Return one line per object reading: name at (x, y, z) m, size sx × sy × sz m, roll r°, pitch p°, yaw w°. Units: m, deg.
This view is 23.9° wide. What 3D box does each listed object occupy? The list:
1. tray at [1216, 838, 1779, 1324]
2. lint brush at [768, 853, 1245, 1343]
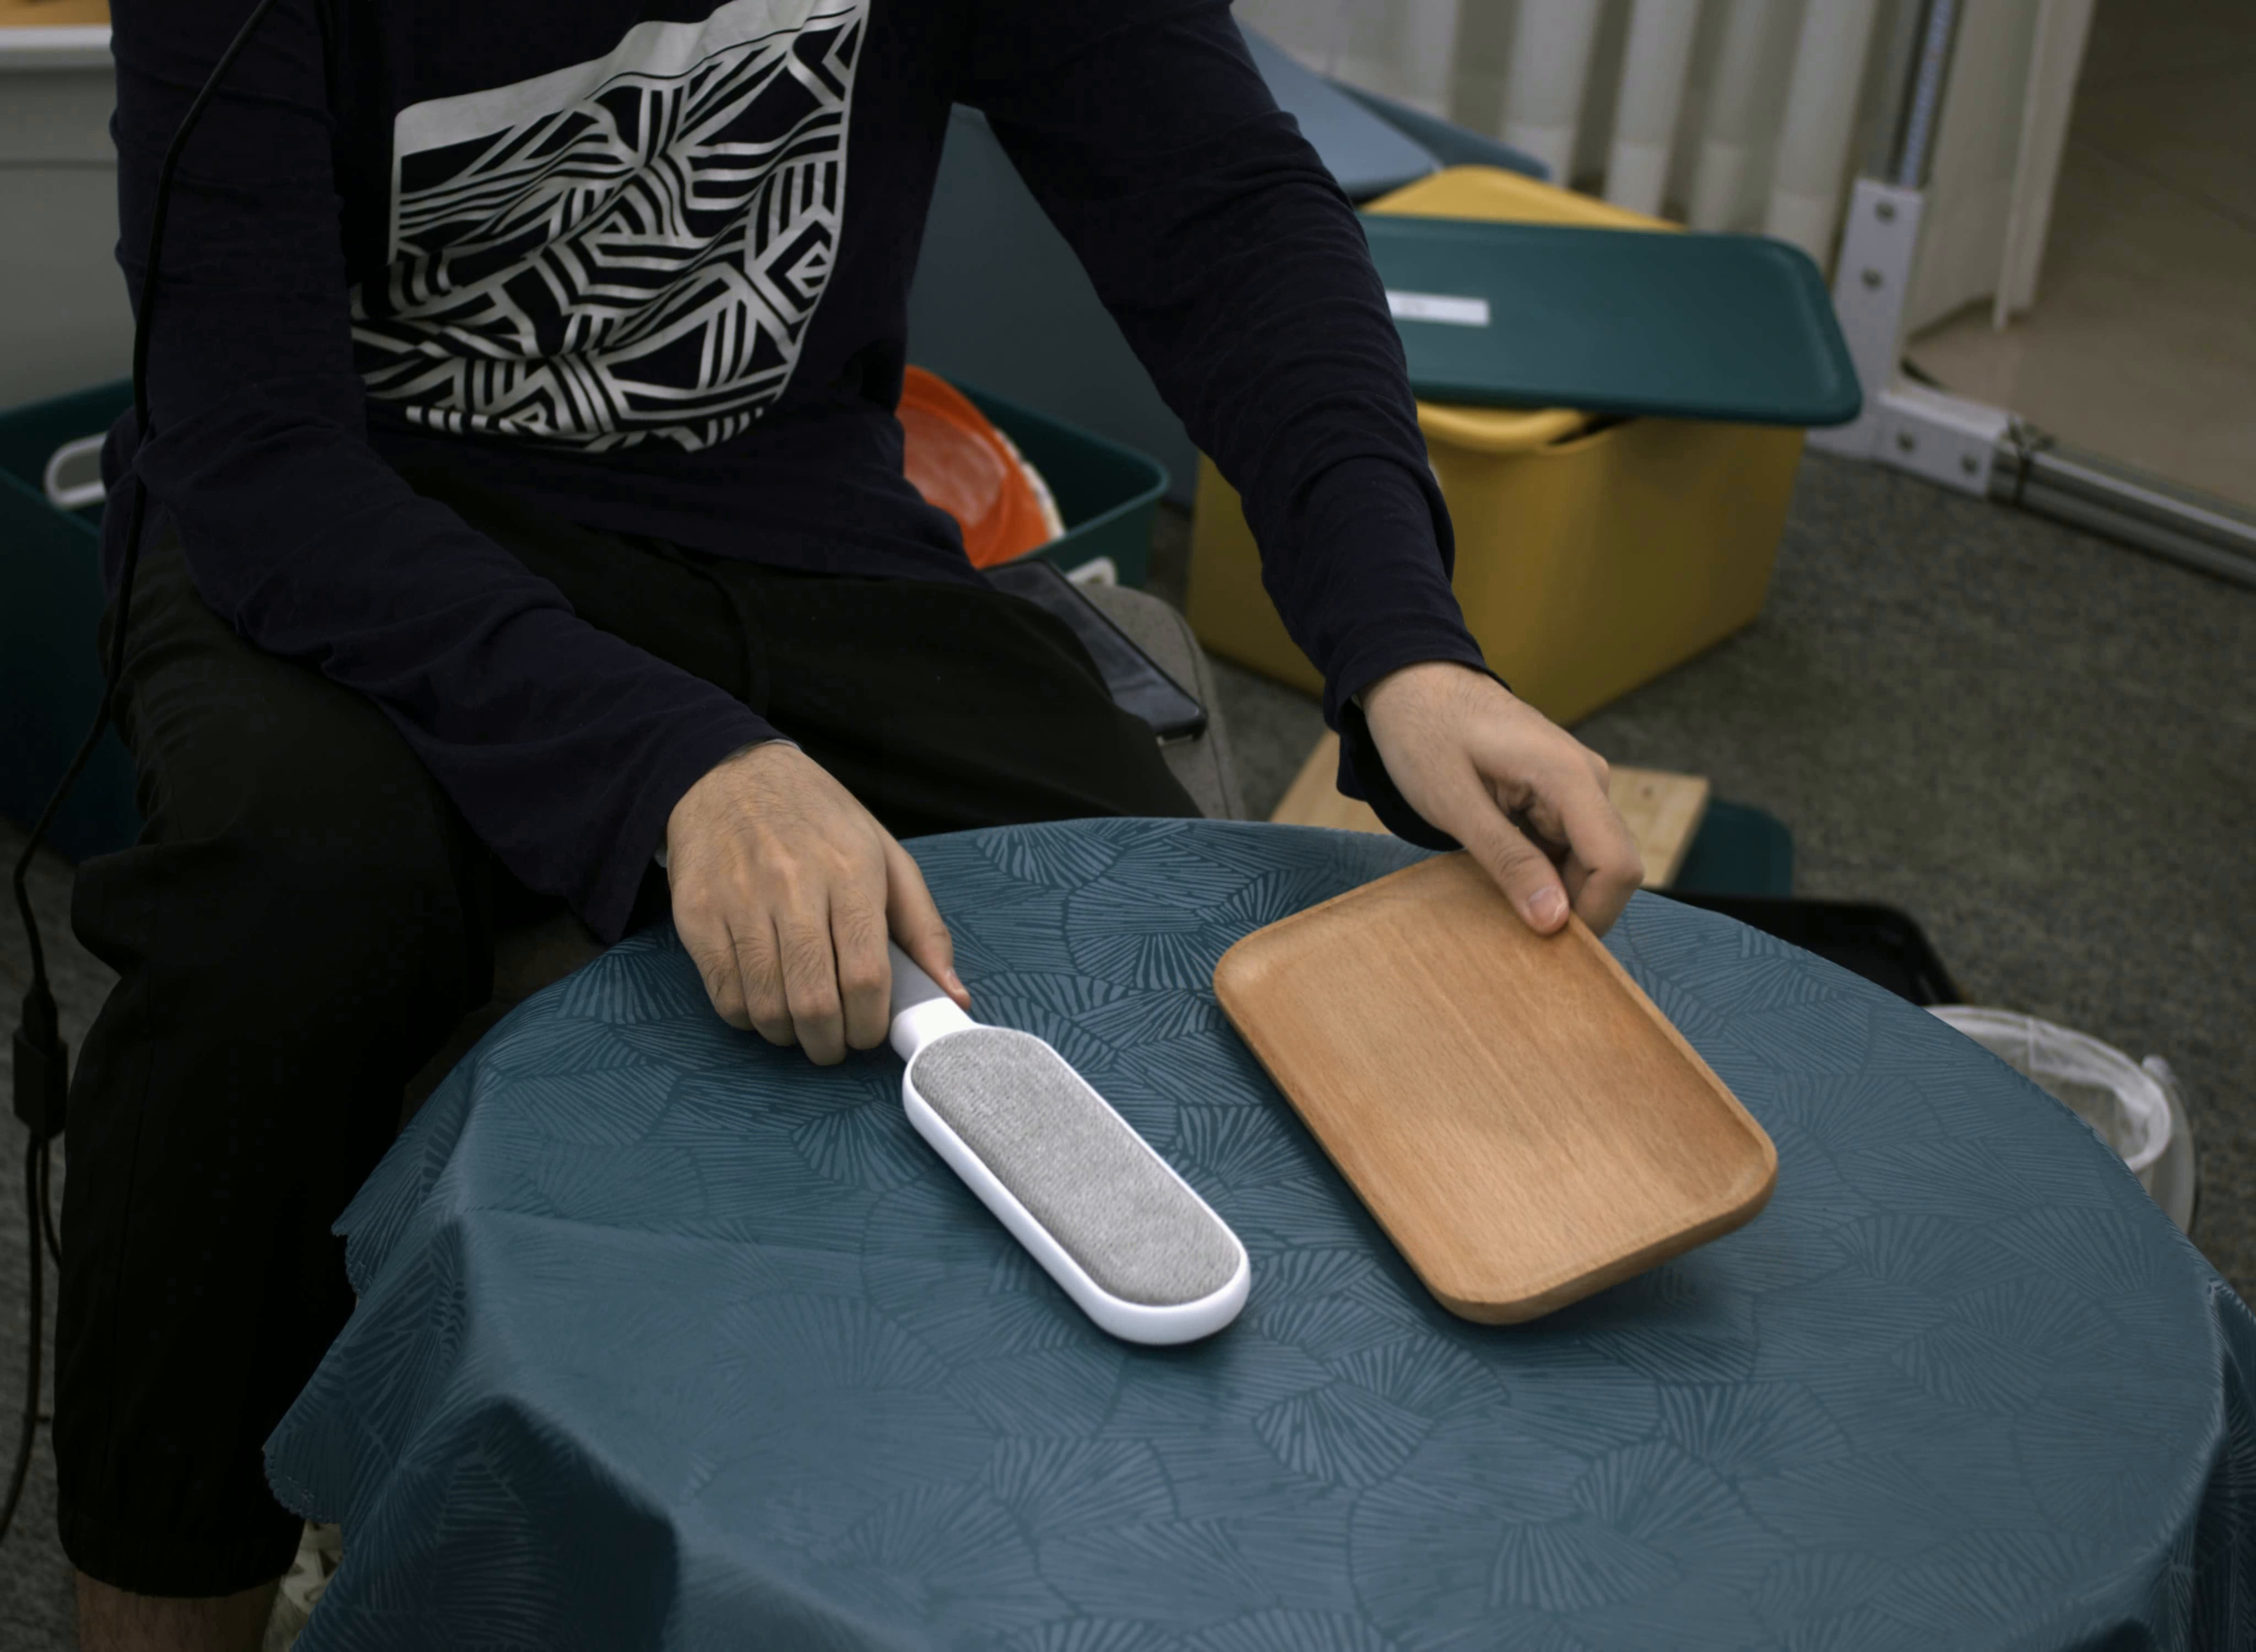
tray at (0.125, 0.086, 1.846) m, size 0.130 × 0.023 × 0.253 m, roll -19°, pitch 33°, yaw -10°
lint brush at (-0.049, 0.087, 1.824) m, size 0.060 × 0.021 × 0.312 m, roll -21°, pitch 37°, yaw -20°
